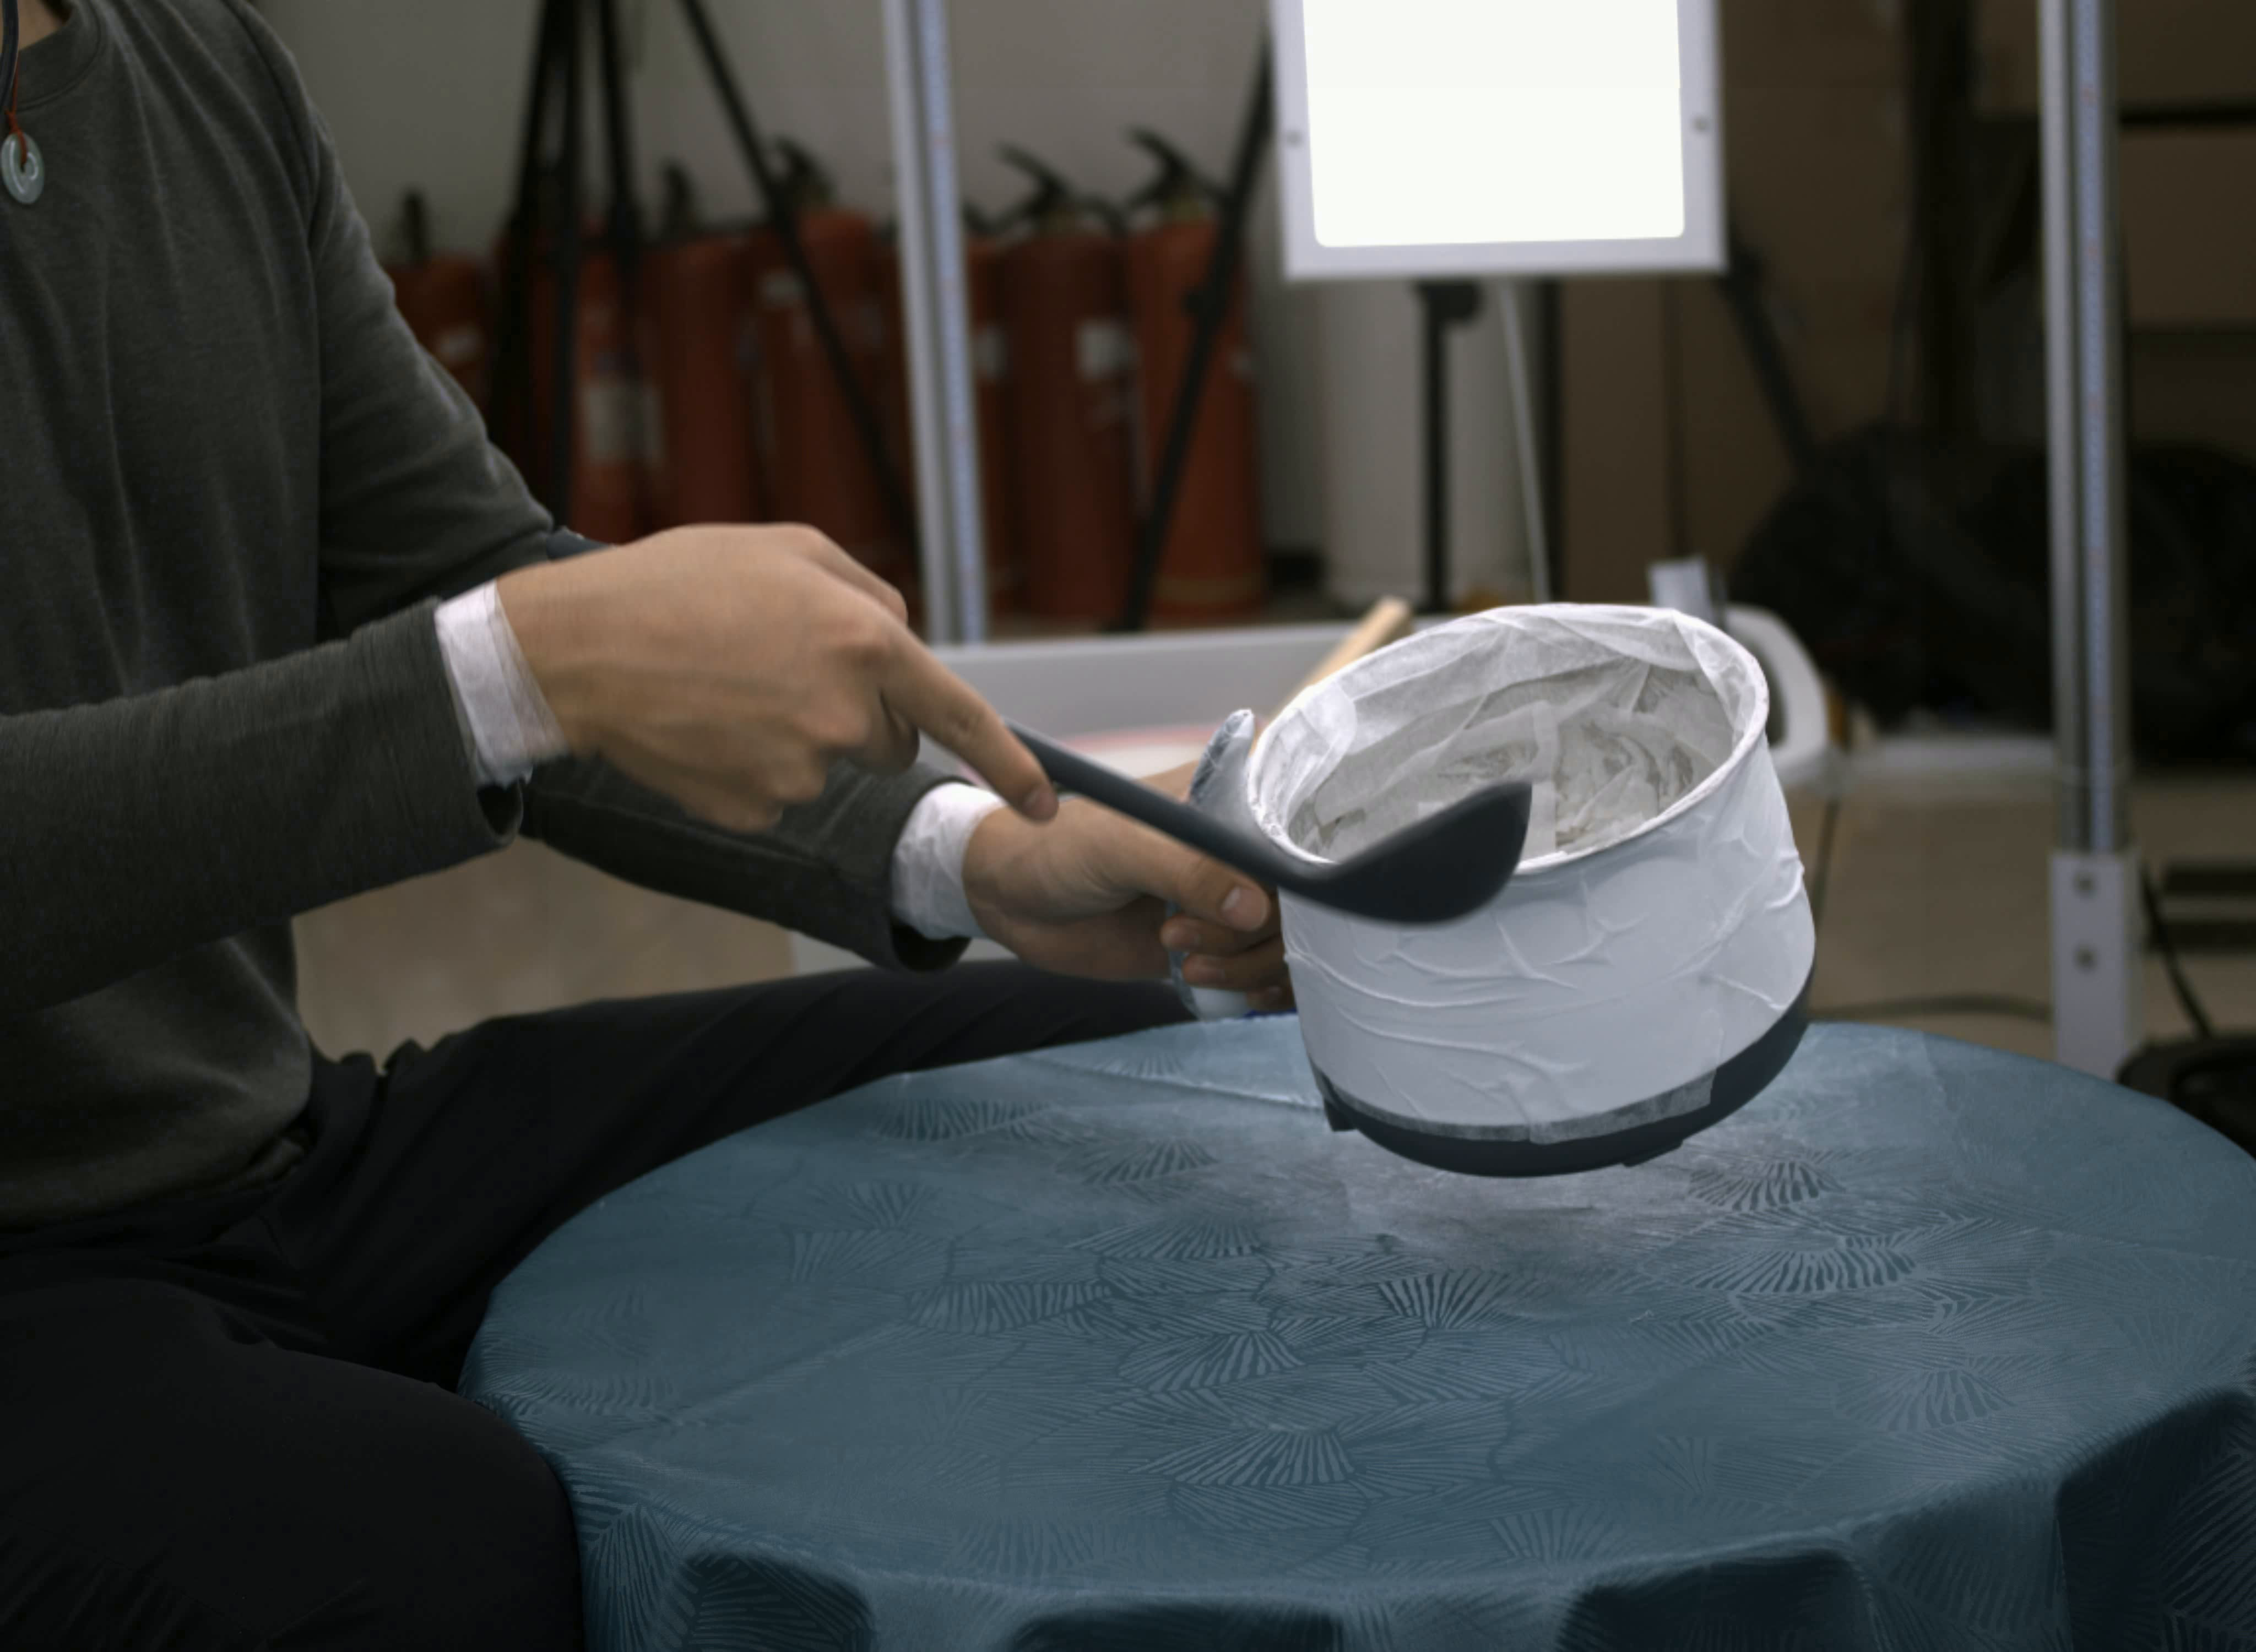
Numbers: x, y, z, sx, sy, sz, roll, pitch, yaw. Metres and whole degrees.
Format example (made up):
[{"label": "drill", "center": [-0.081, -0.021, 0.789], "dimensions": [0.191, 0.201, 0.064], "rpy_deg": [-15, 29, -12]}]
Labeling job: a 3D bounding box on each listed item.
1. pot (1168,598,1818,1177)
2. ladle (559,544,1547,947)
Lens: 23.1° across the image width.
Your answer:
[{"label": "pot", "center": [0.115, 0.022, 1.857], "dimensions": [0.238, 0.136, 0.175], "rpy_deg": [2, 33, 30]}, {"label": "ladle", "center": [-0.022, -0.041, 1.682], "dimensions": [0.314, 0.064, 0.086], "rpy_deg": [24, 2, 5]}]
